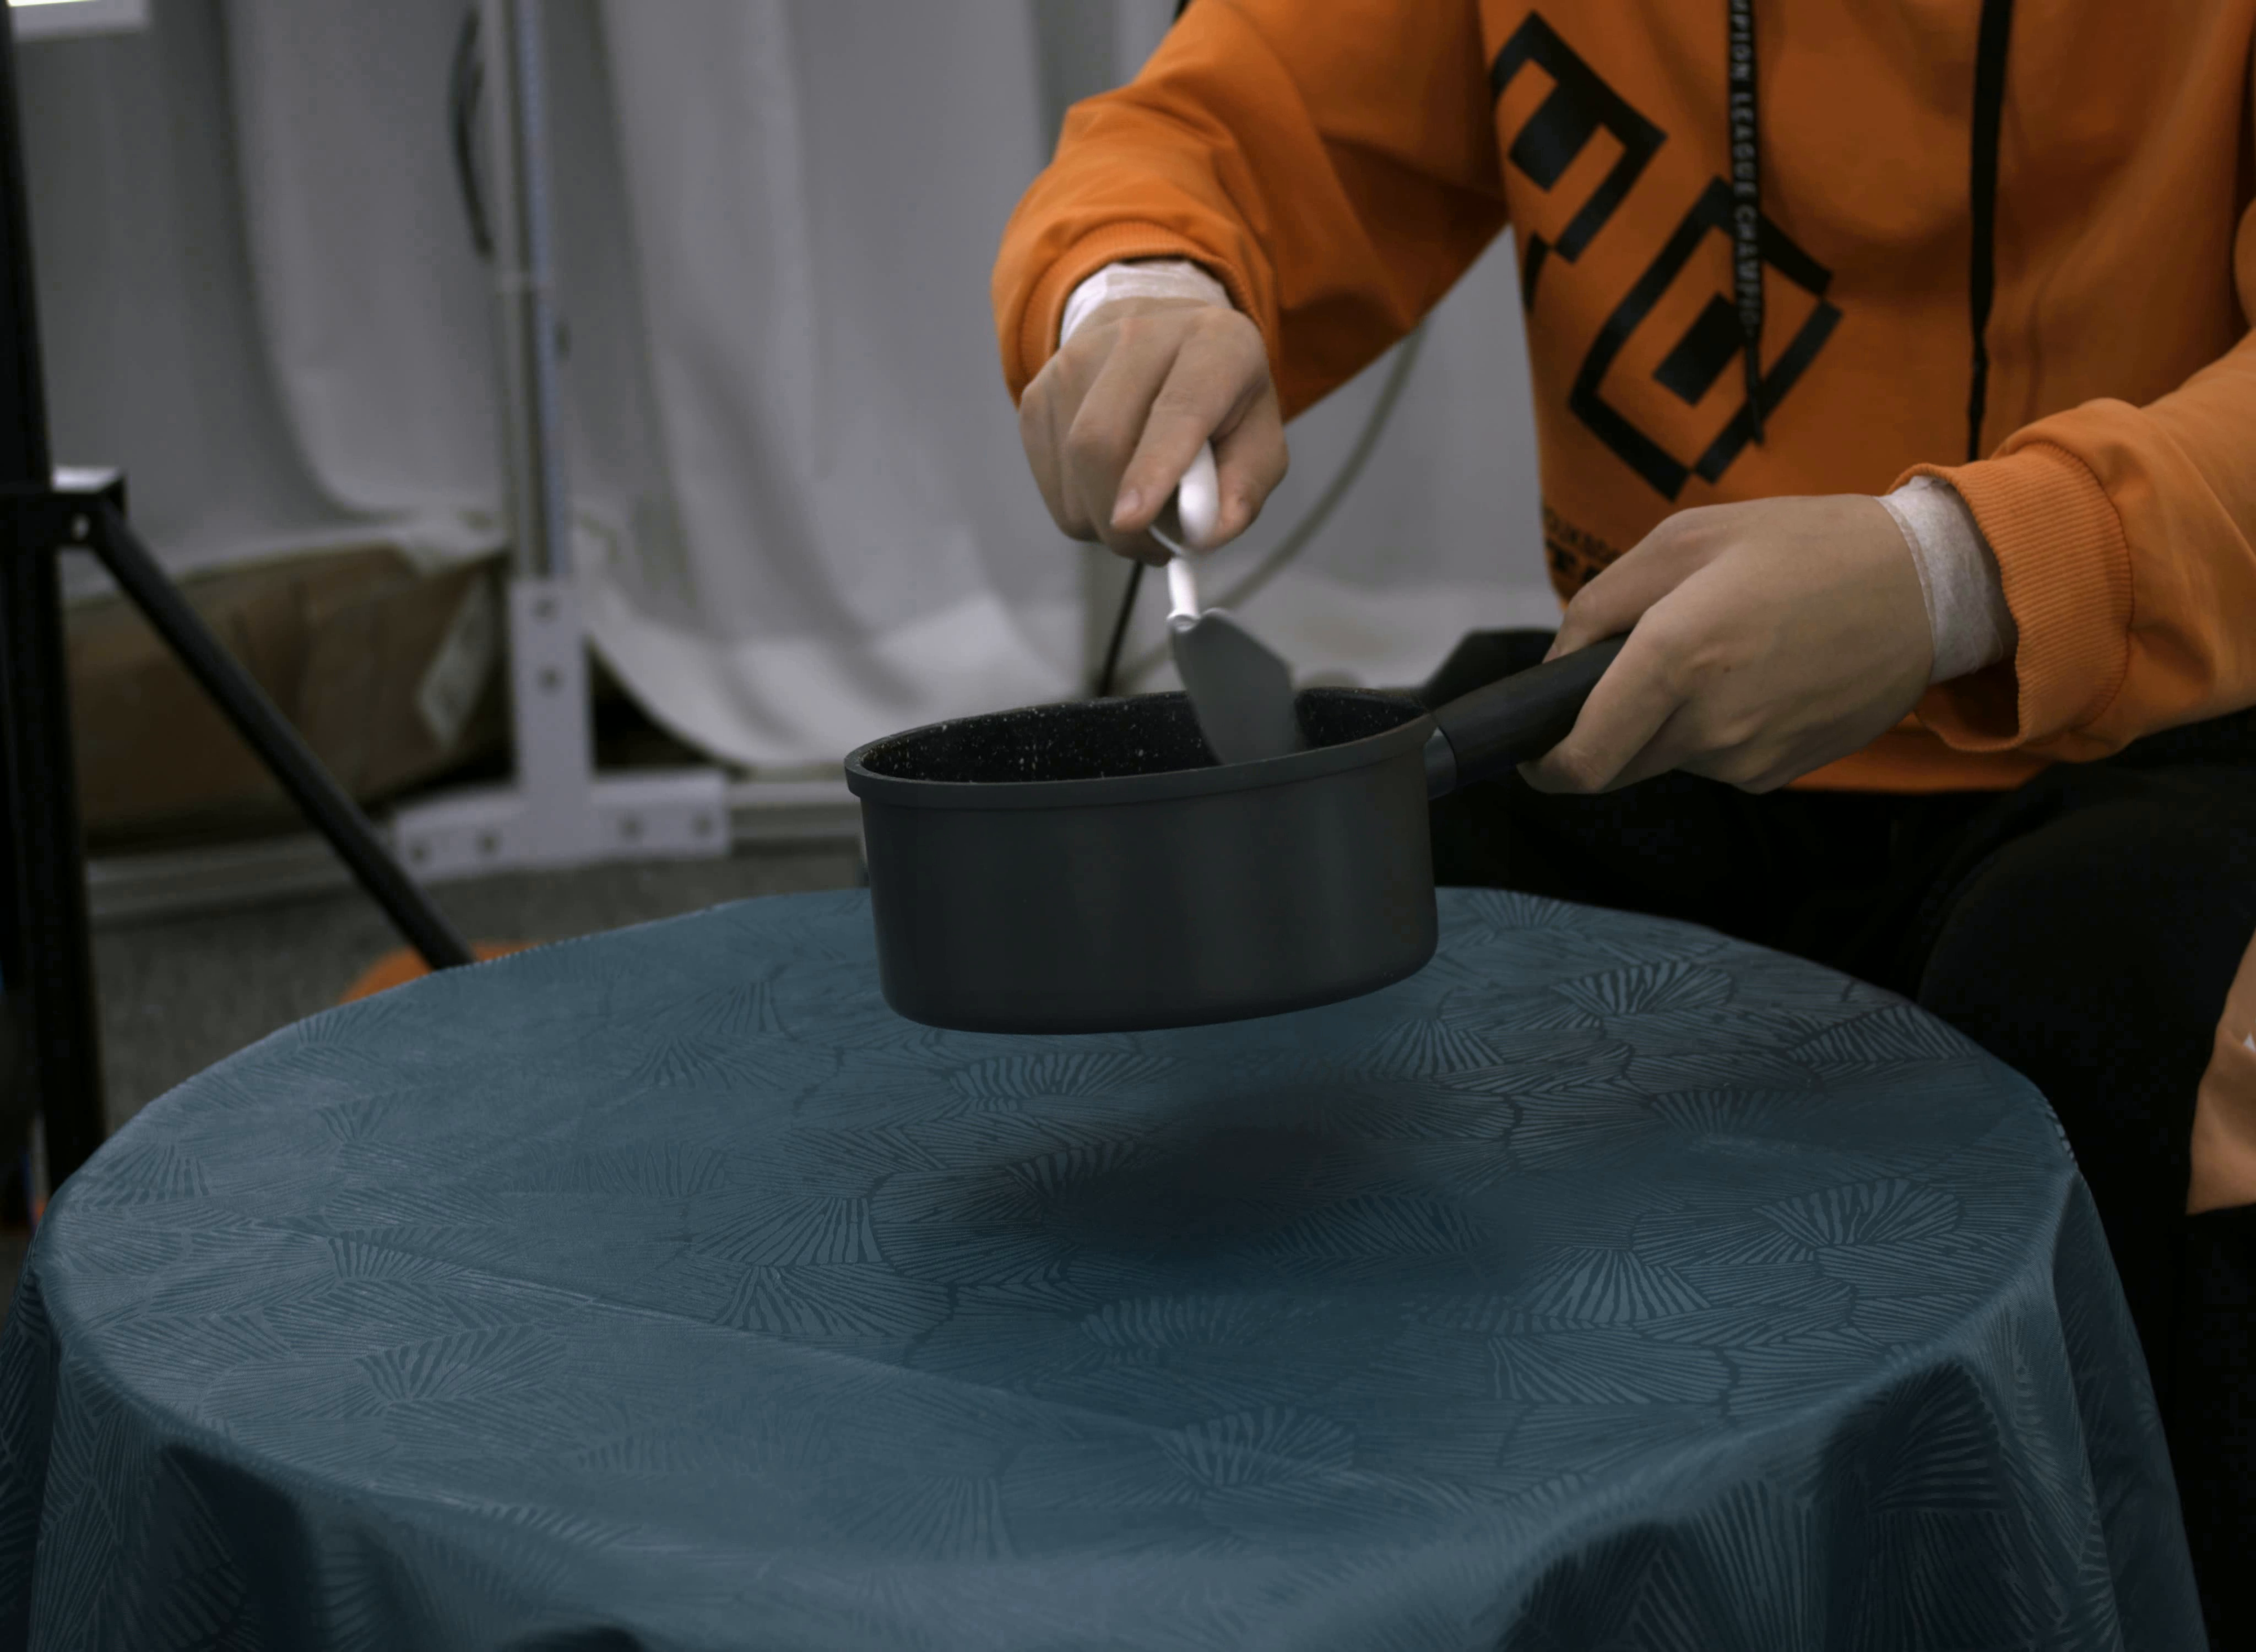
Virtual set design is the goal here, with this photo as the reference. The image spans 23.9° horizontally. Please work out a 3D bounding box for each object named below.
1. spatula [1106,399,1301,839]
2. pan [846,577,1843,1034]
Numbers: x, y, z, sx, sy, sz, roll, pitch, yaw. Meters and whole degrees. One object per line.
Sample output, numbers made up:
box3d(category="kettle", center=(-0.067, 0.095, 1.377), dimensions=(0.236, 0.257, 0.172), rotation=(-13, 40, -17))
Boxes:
box3d(category="spatula", center=(0.023, -0.070, 1.593), dimensions=(0.032, 0.058, 0.290), rotation=(0, 21, -6))
box3d(category="pan", center=(0.074, -0.006, 1.573), dimensions=(0.322, 0.086, 0.175), rotation=(-11, 11, -26))
